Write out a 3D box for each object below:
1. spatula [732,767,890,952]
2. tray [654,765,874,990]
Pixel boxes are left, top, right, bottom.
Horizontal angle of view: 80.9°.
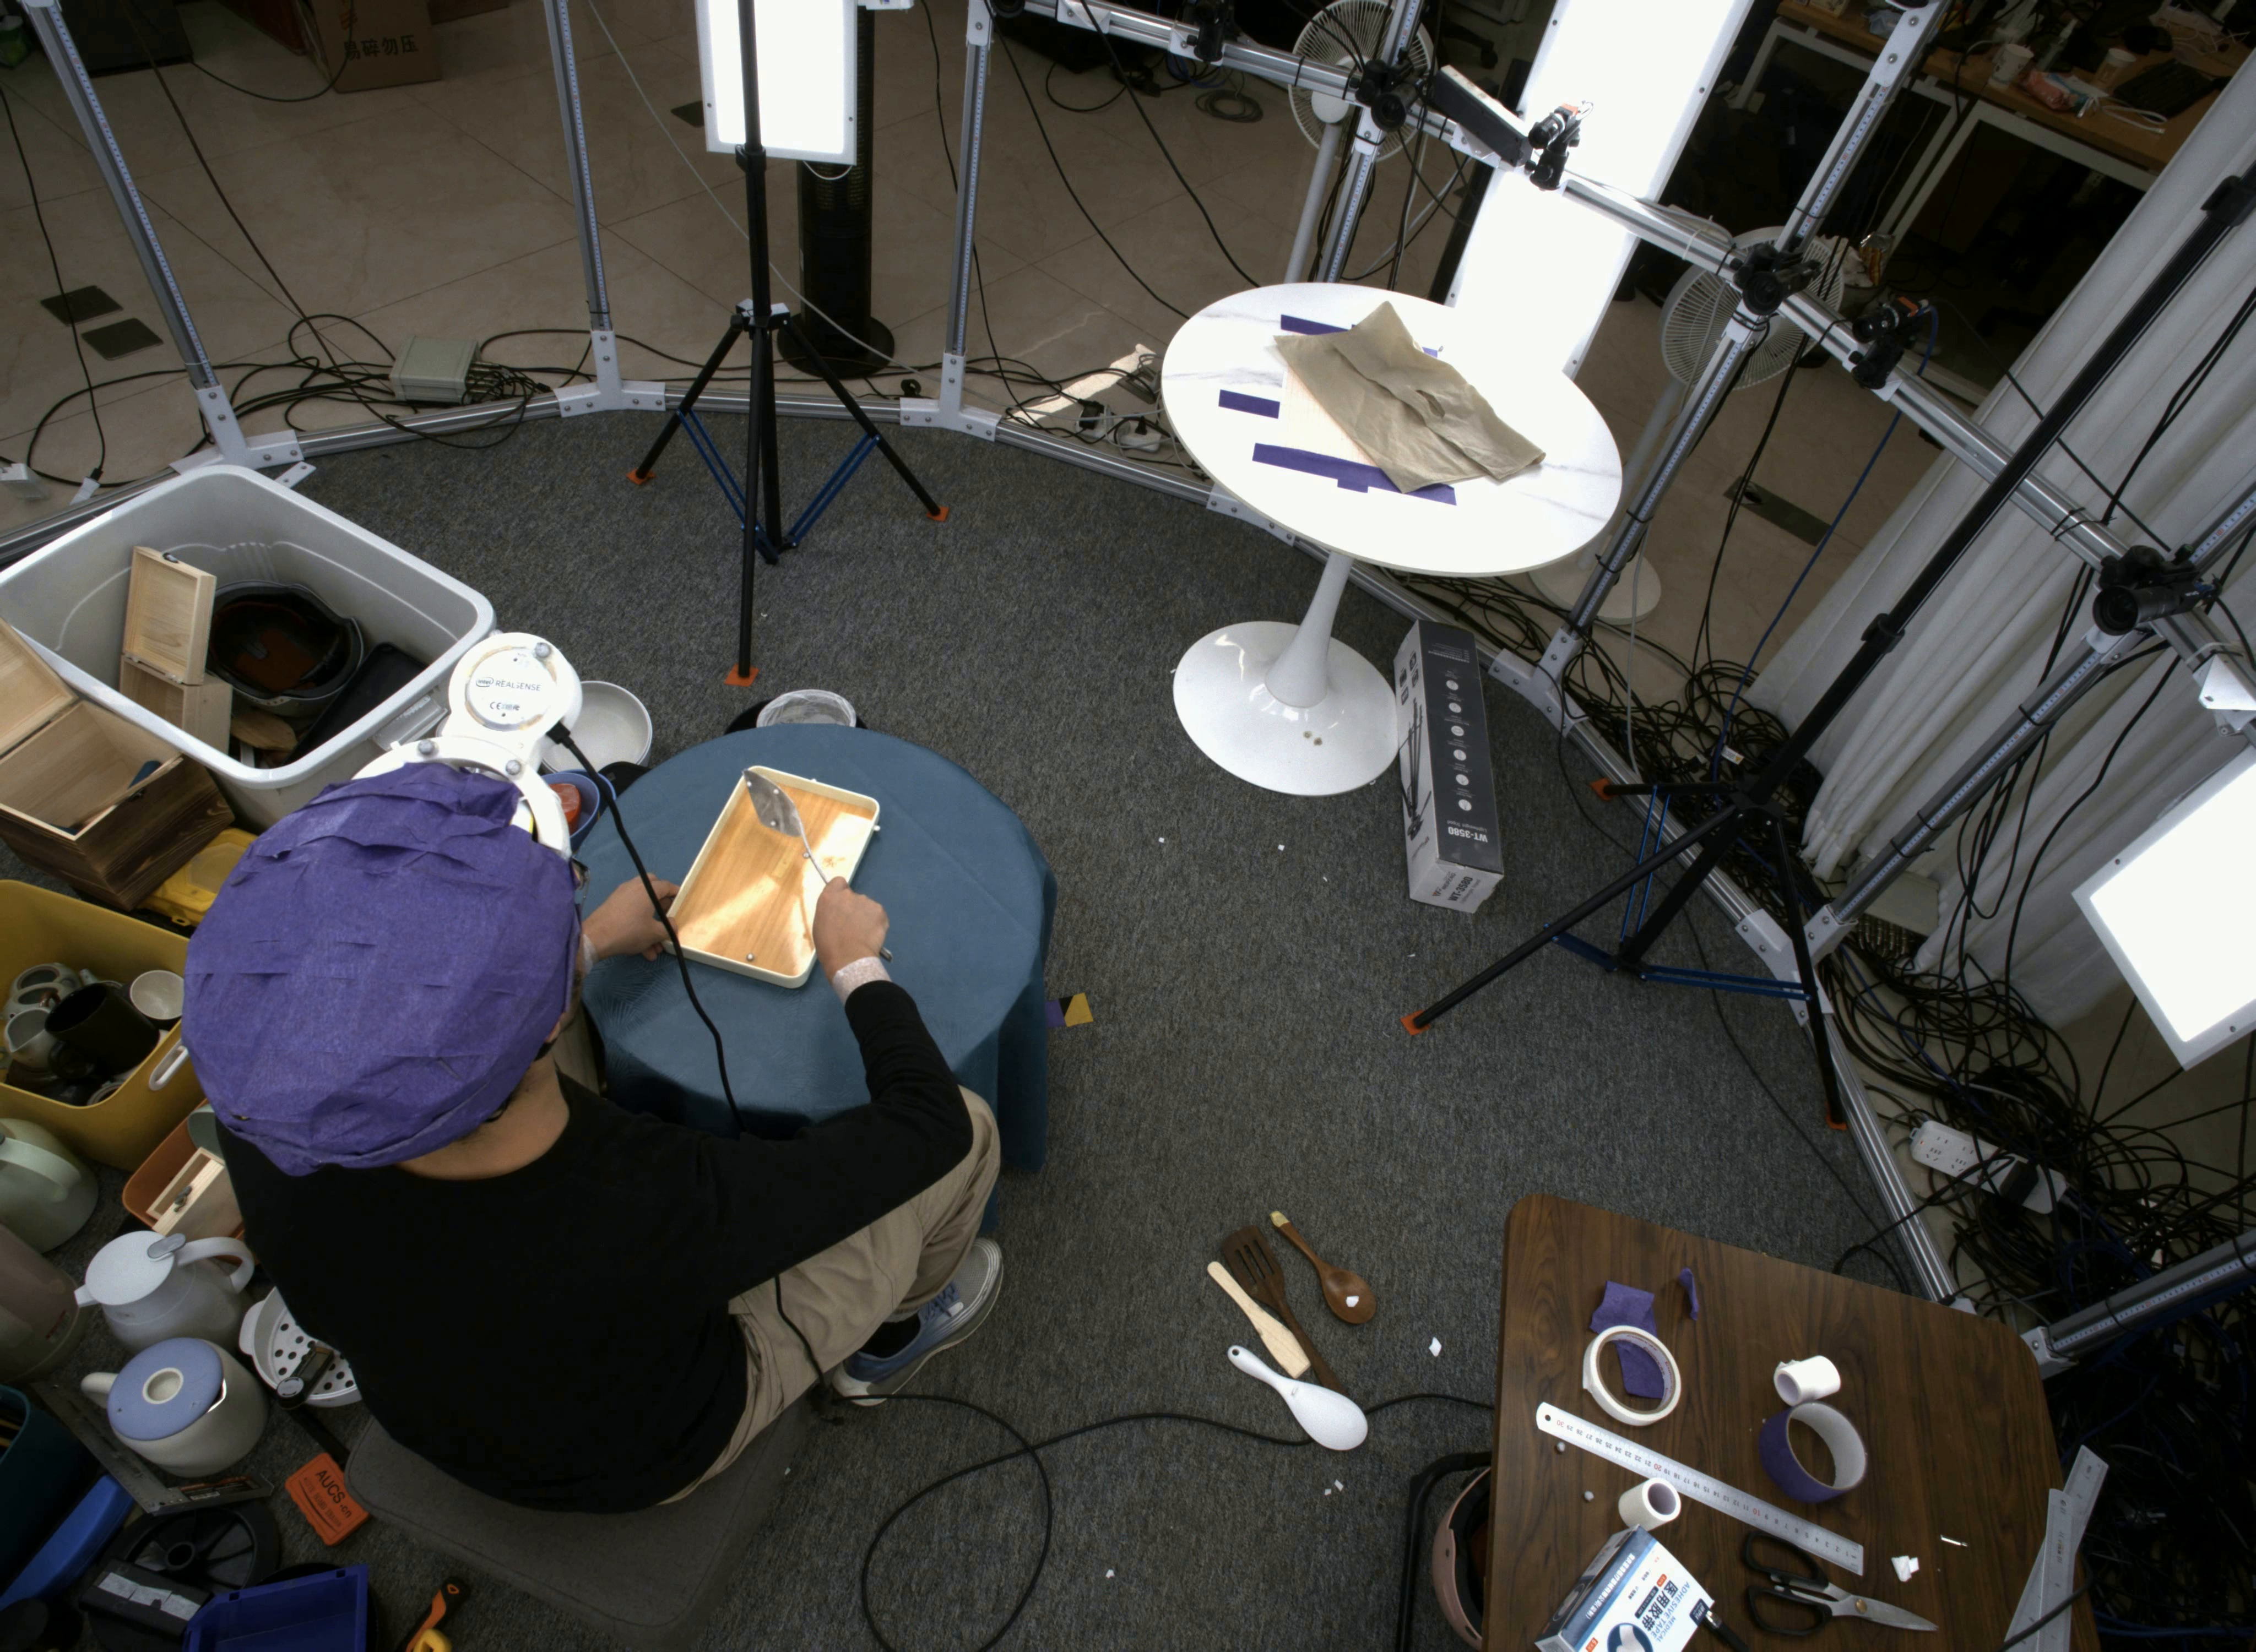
[{"bbox_3d":[-0.385,0.044,1.559,0.045,0.102,0.352,-26,48,-23],"label":"spatula"},{"bbox_3d":[-0.458,0.058,1.649,0.190,0.028,0.296,17,52,-2],"label":"tray"}]
